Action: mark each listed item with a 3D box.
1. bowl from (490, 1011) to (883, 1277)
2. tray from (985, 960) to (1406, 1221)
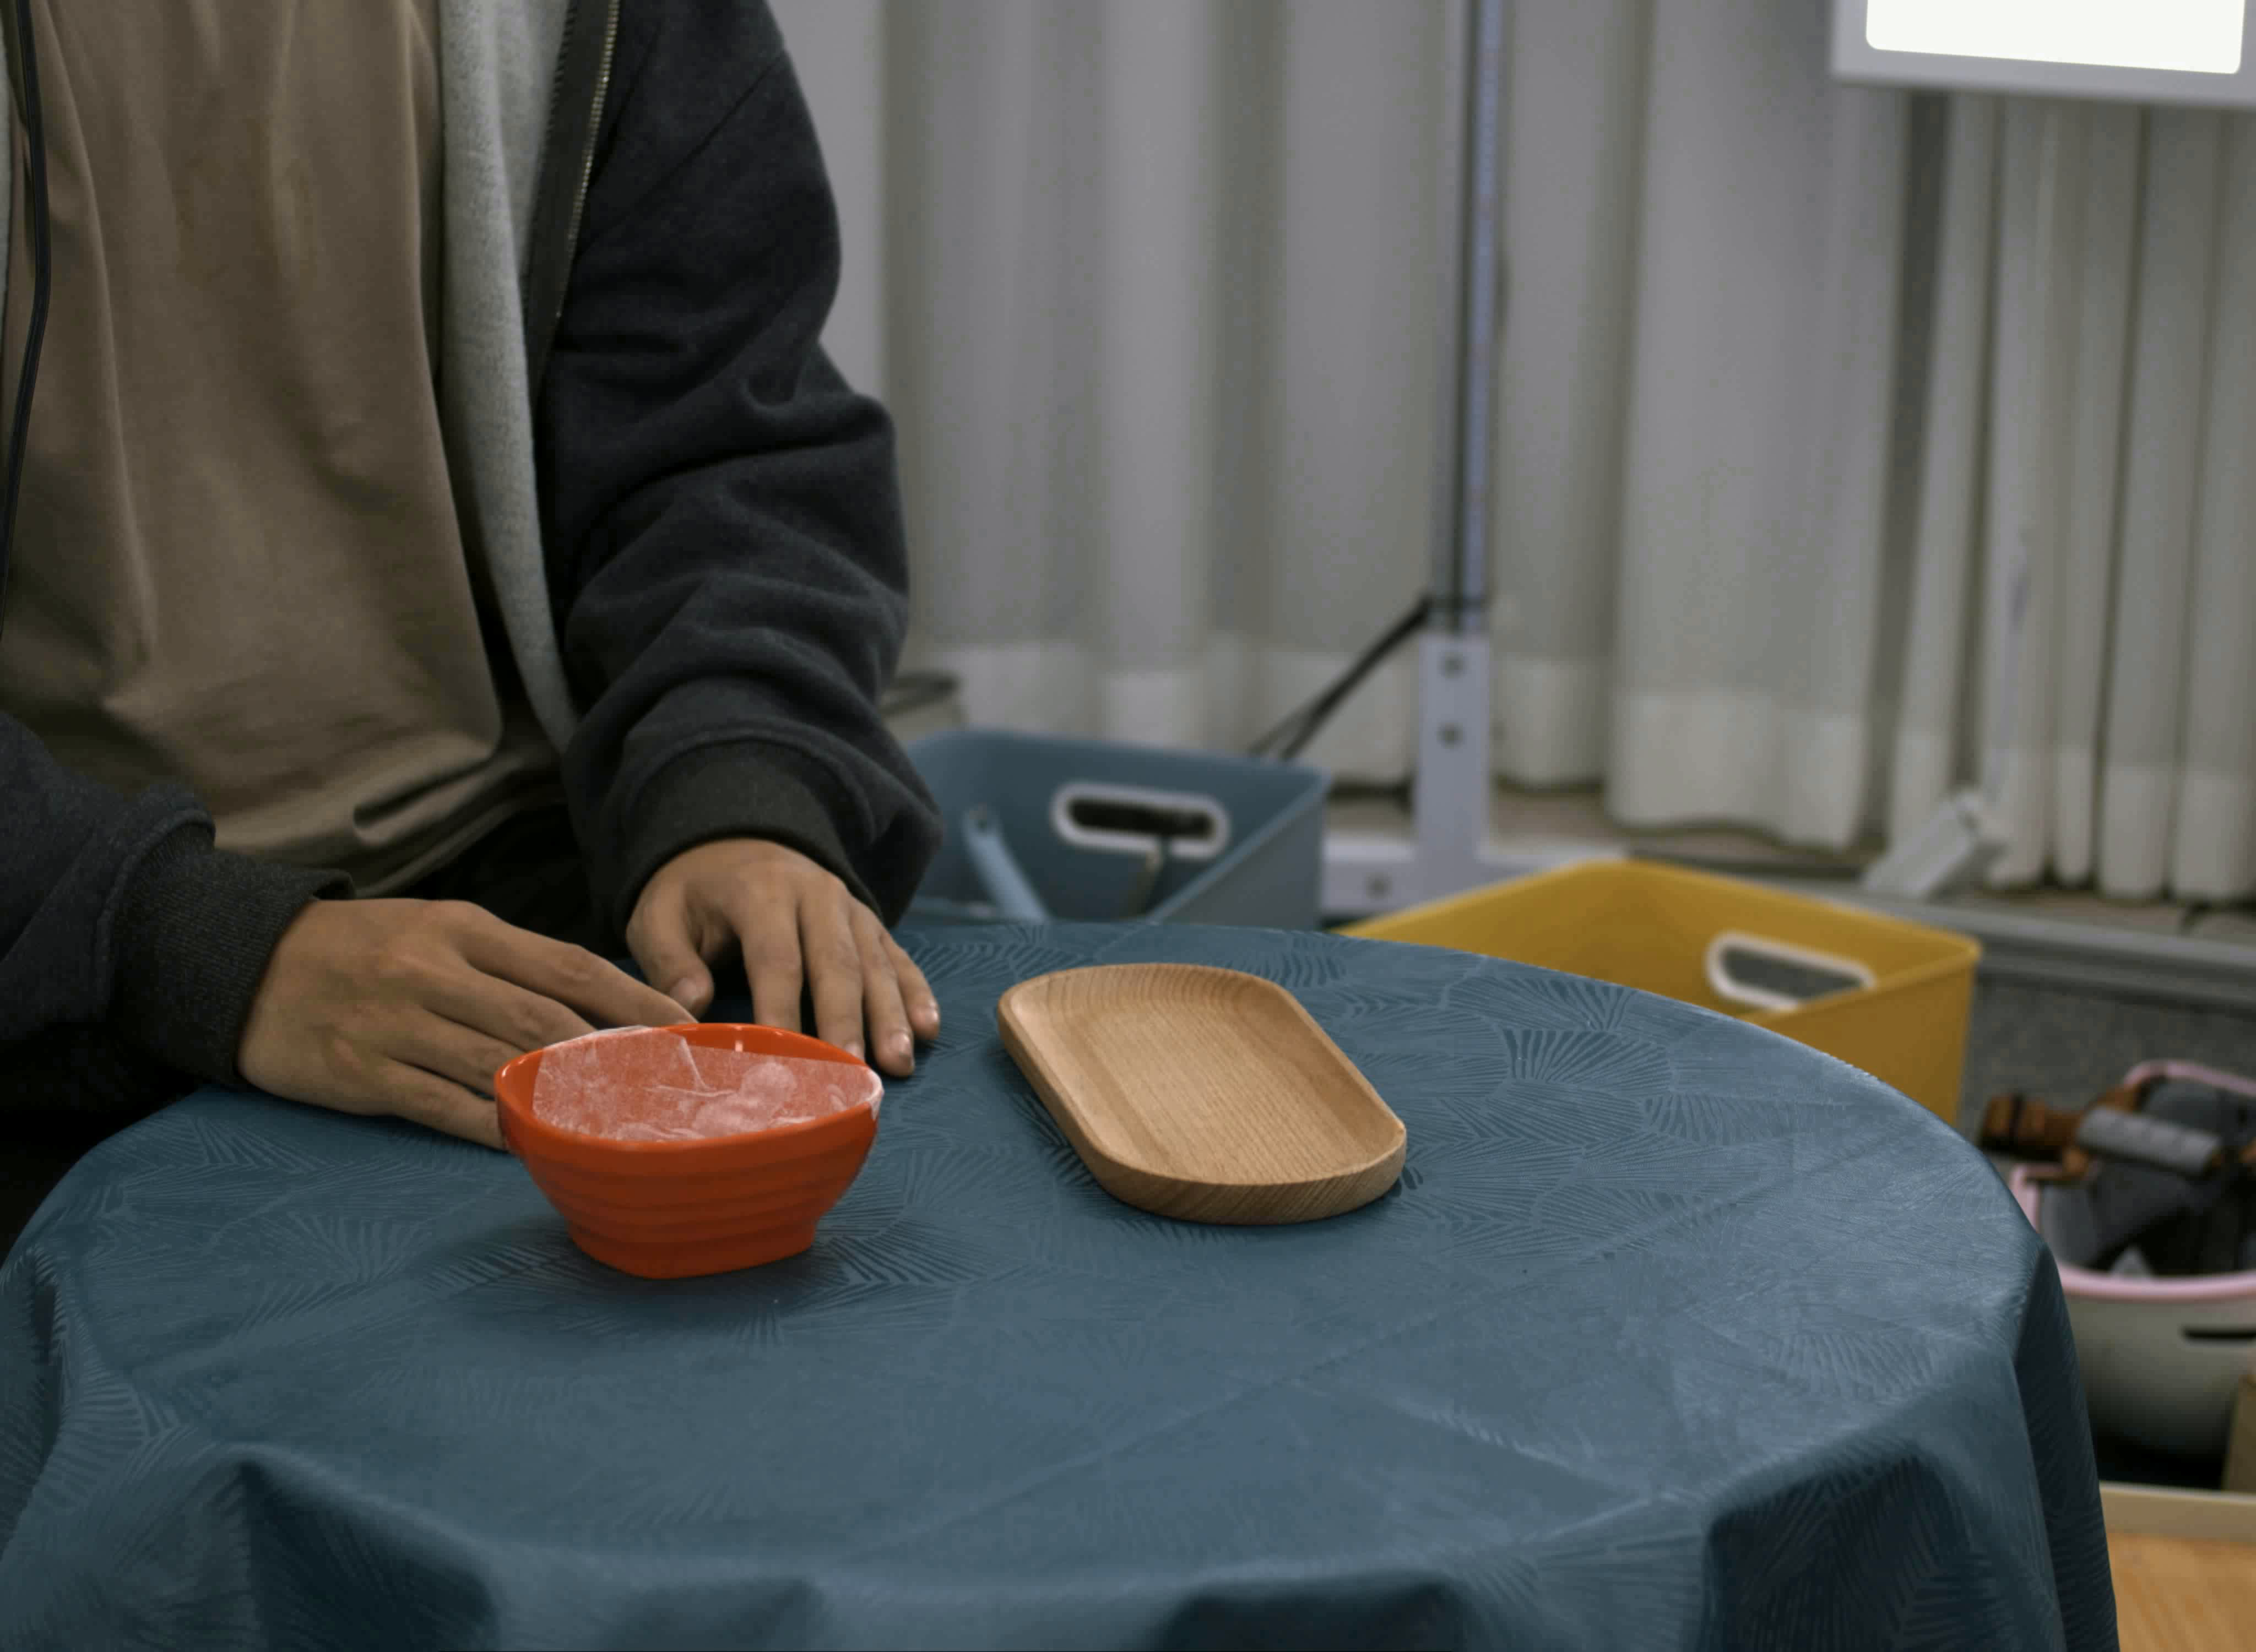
[{"bbox_3d":[-0.131,0.097,1.571,0.118,0.052,0.118,1,17,0],"label":"bowl"},{"bbox_3d":[0.019,0.083,1.698,0.102,0.020,0.229,-3,15,-15],"label":"tray"}]
